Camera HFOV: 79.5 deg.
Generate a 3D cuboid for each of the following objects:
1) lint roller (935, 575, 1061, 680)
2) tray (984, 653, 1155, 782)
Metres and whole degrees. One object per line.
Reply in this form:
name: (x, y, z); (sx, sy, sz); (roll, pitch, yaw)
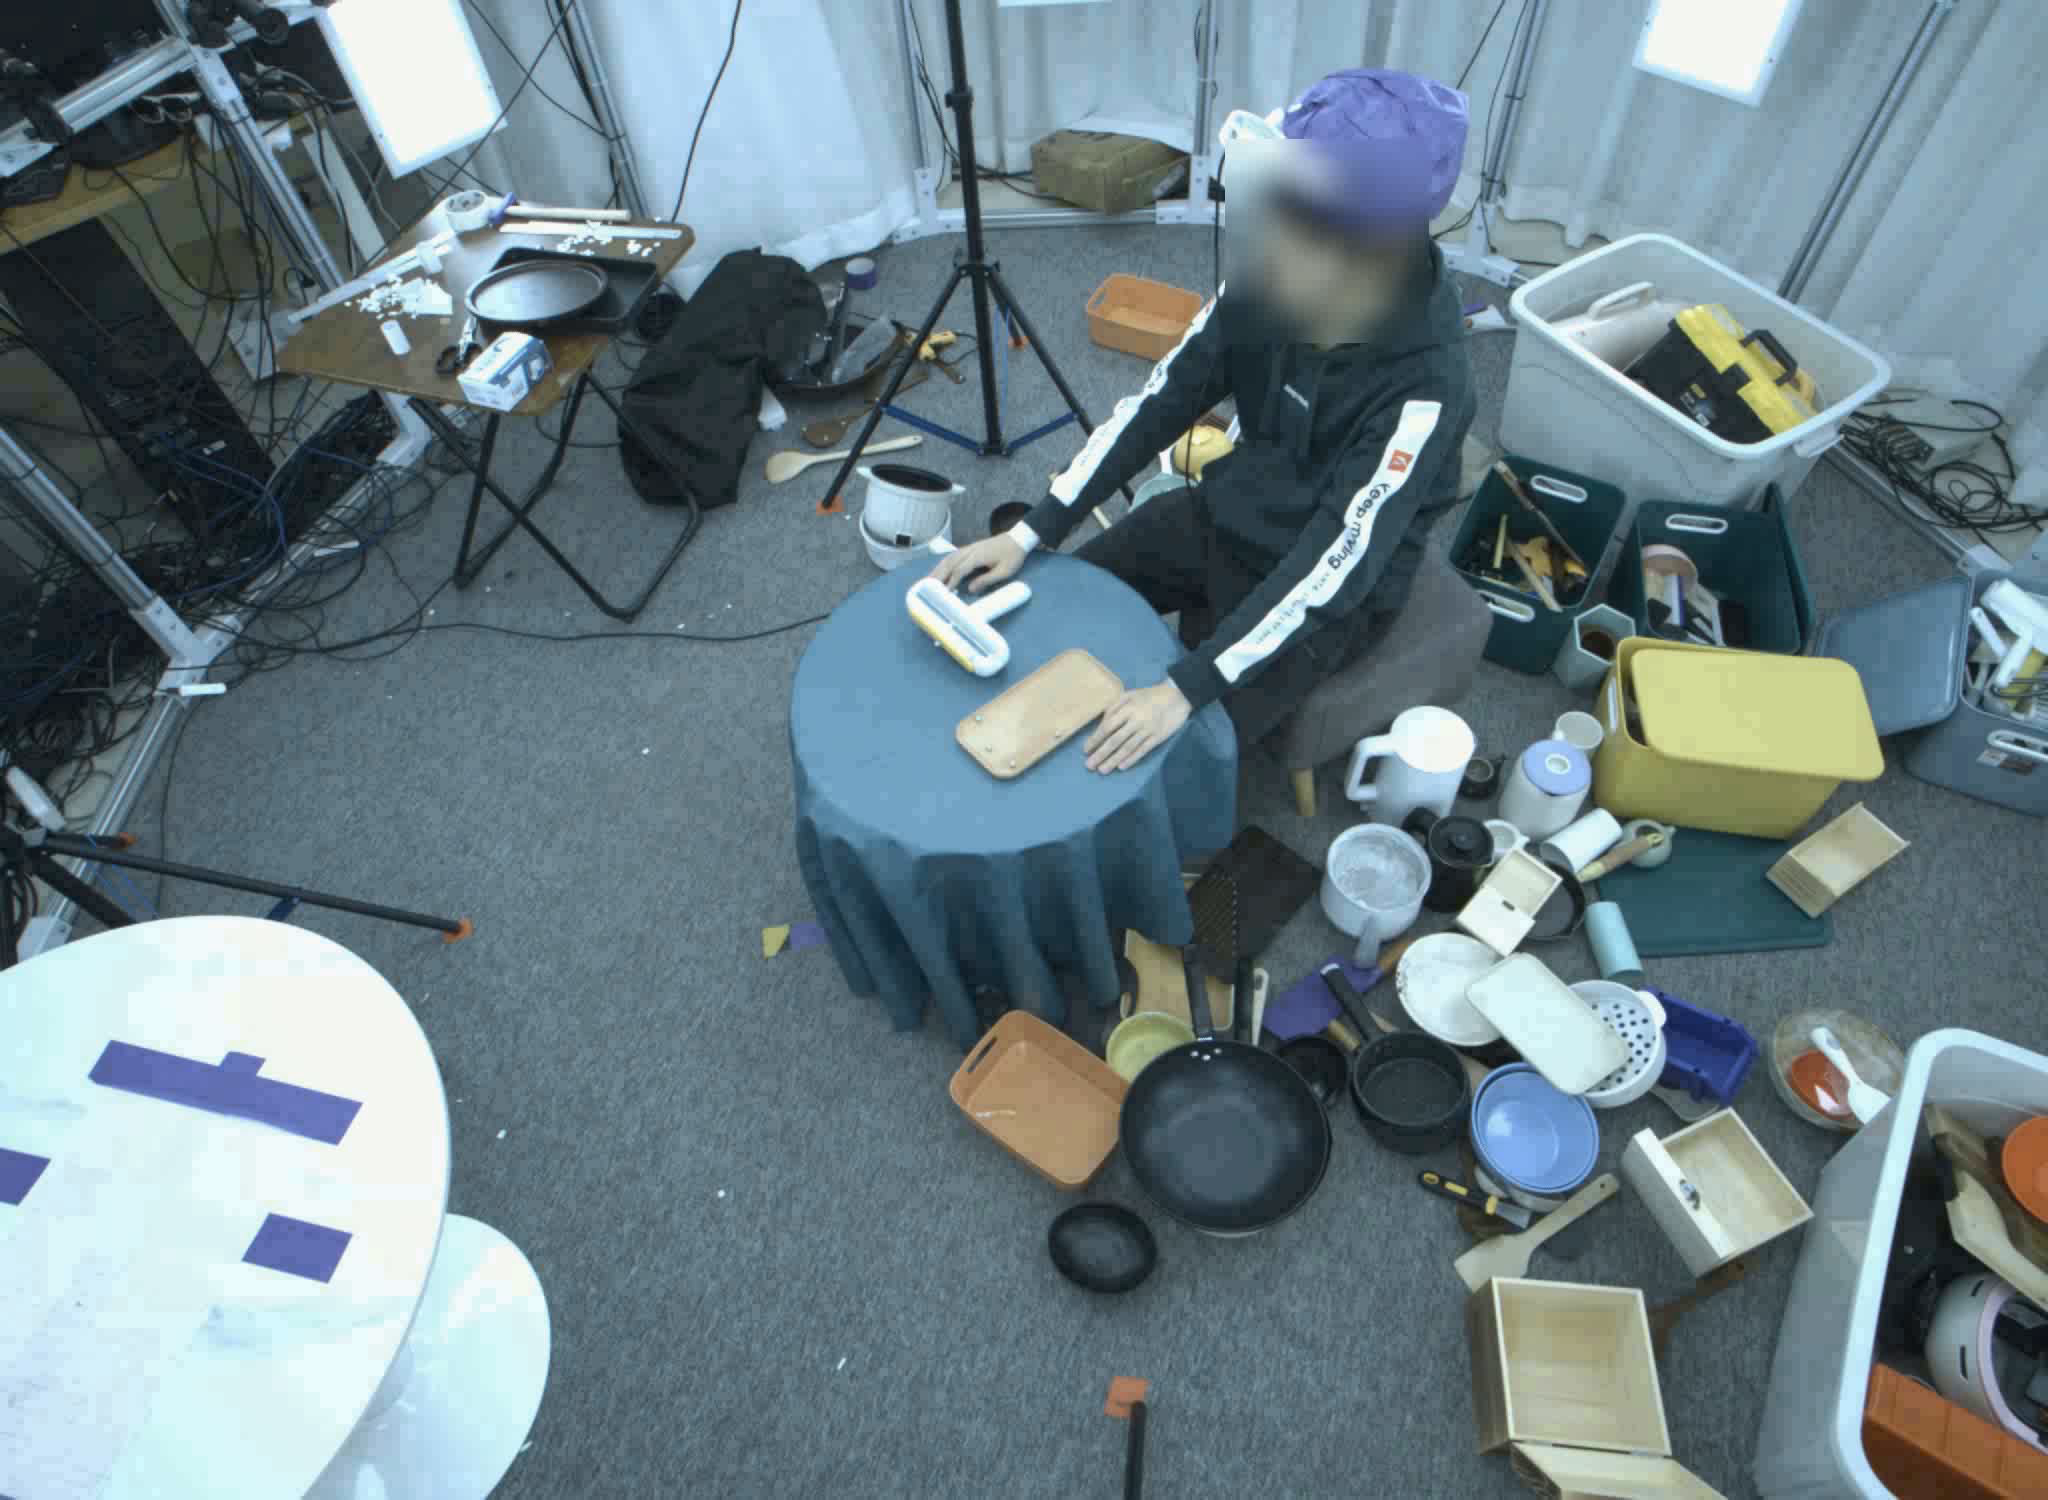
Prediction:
lint roller: (-0.018, -0.203, 1.909); (0.195, 0.074, 0.190); (-26, 64, -33)
tray: (0.068, -0.049, 1.806); (0.253, 0.023, 0.128); (-32, 62, -20)
